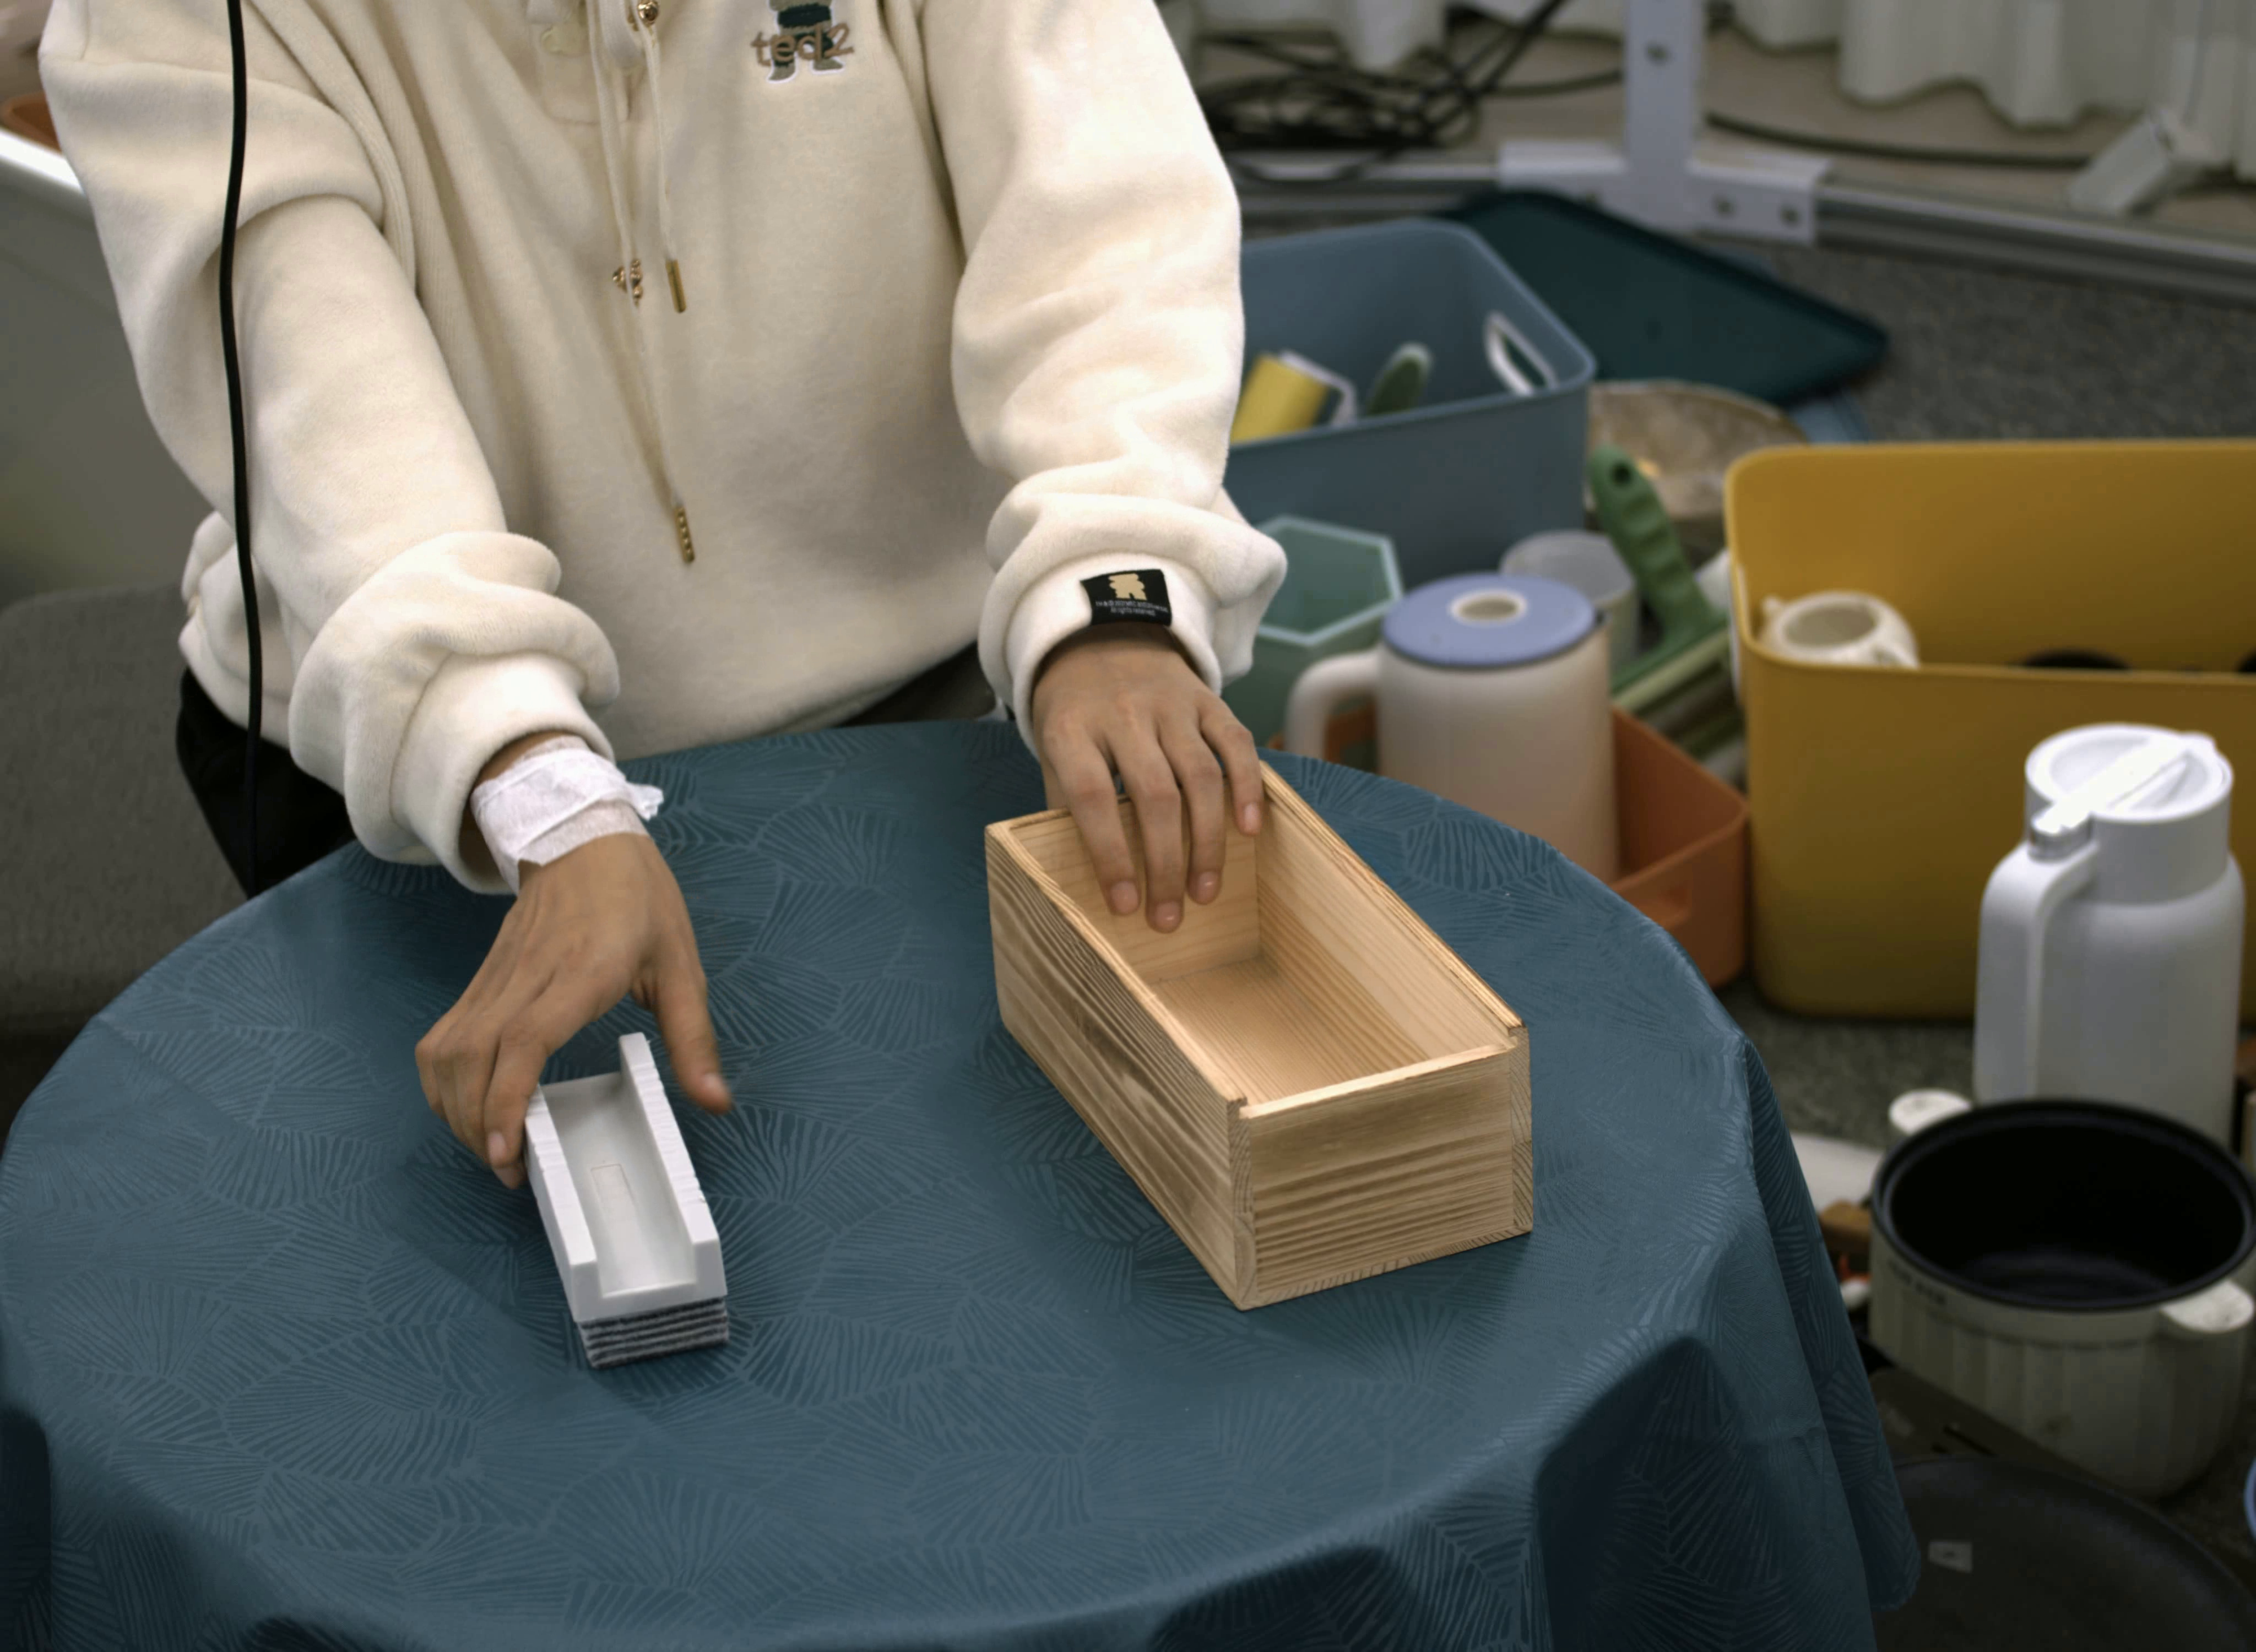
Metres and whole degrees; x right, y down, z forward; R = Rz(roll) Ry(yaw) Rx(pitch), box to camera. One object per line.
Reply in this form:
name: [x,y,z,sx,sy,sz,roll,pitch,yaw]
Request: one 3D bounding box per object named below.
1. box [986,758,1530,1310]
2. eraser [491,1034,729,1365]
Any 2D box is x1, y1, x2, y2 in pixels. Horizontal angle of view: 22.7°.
box: [0.041,0.065,1.881,0.108,0.079,0.213,-13,29,-20]
eraser: [-0.169,0.121,1.829,0.050,0.046,0.135,-12,30,-13]
